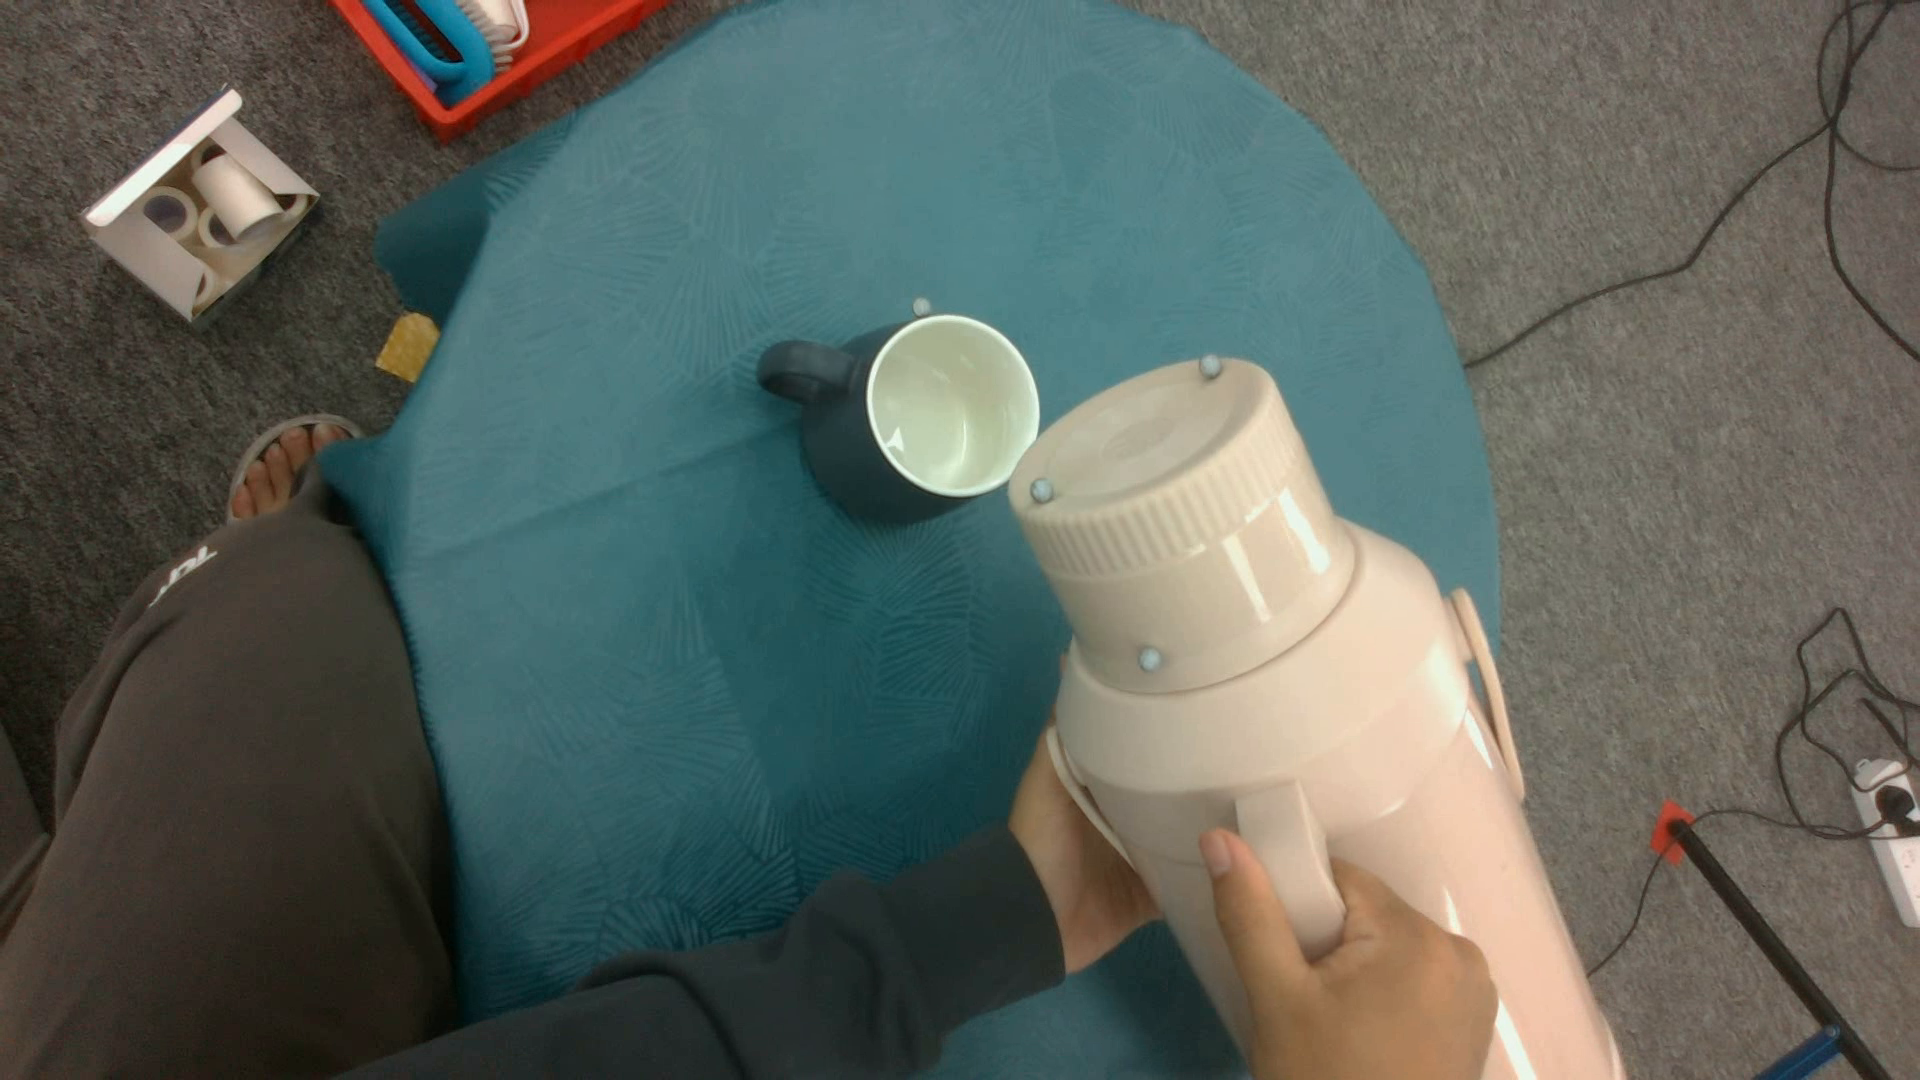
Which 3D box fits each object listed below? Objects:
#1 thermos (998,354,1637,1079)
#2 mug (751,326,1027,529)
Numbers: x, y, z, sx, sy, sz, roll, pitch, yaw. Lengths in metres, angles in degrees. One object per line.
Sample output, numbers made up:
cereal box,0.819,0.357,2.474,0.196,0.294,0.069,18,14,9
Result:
thermos,0.153,0.122,0.582,0.175,0.208,0.405,-23,116,16
mug,-0.037,-0.058,0.638,0.123,0.089,0.093,20,79,-20
